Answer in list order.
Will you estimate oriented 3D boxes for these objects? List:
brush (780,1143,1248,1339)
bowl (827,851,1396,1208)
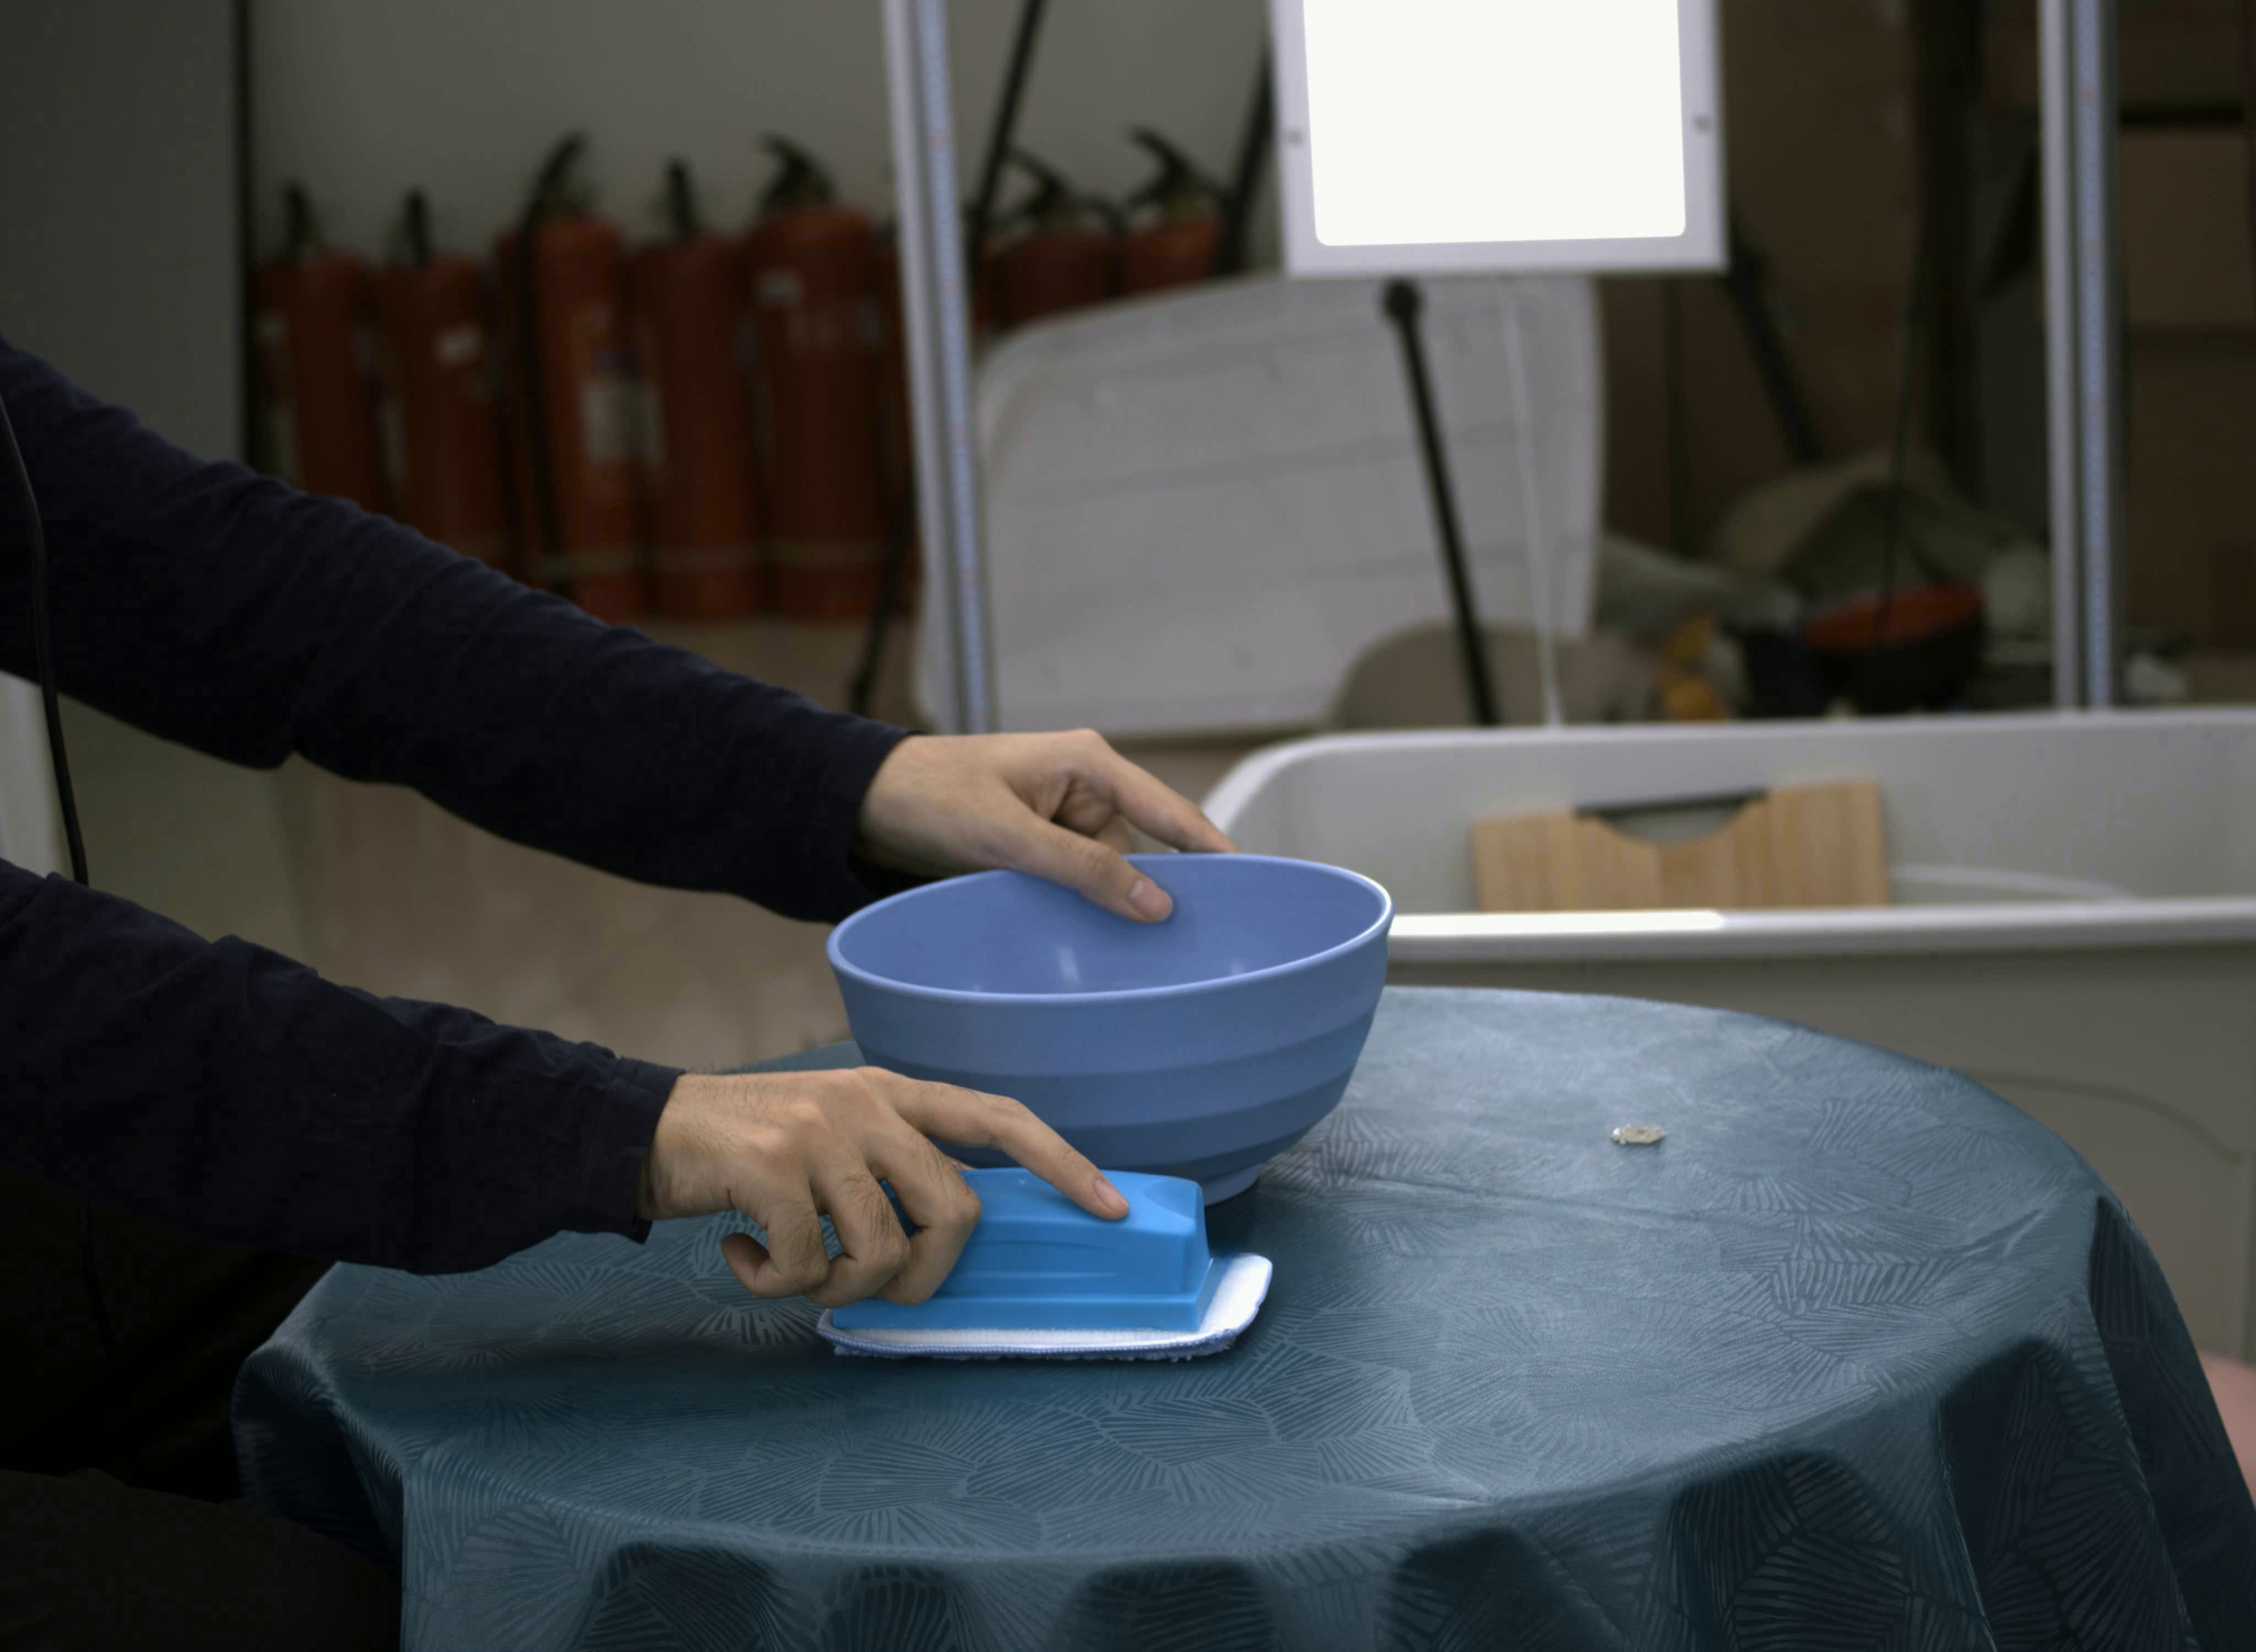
[{"bbox_3d":[-0.036,0.132,1.758,0.145,0.056,0.082,2,17,16],"label":"brush"},{"bbox_3d":[-0.003,0.078,1.901,0.196,0.096,0.196,-3,13,-1],"label":"bowl"}]
